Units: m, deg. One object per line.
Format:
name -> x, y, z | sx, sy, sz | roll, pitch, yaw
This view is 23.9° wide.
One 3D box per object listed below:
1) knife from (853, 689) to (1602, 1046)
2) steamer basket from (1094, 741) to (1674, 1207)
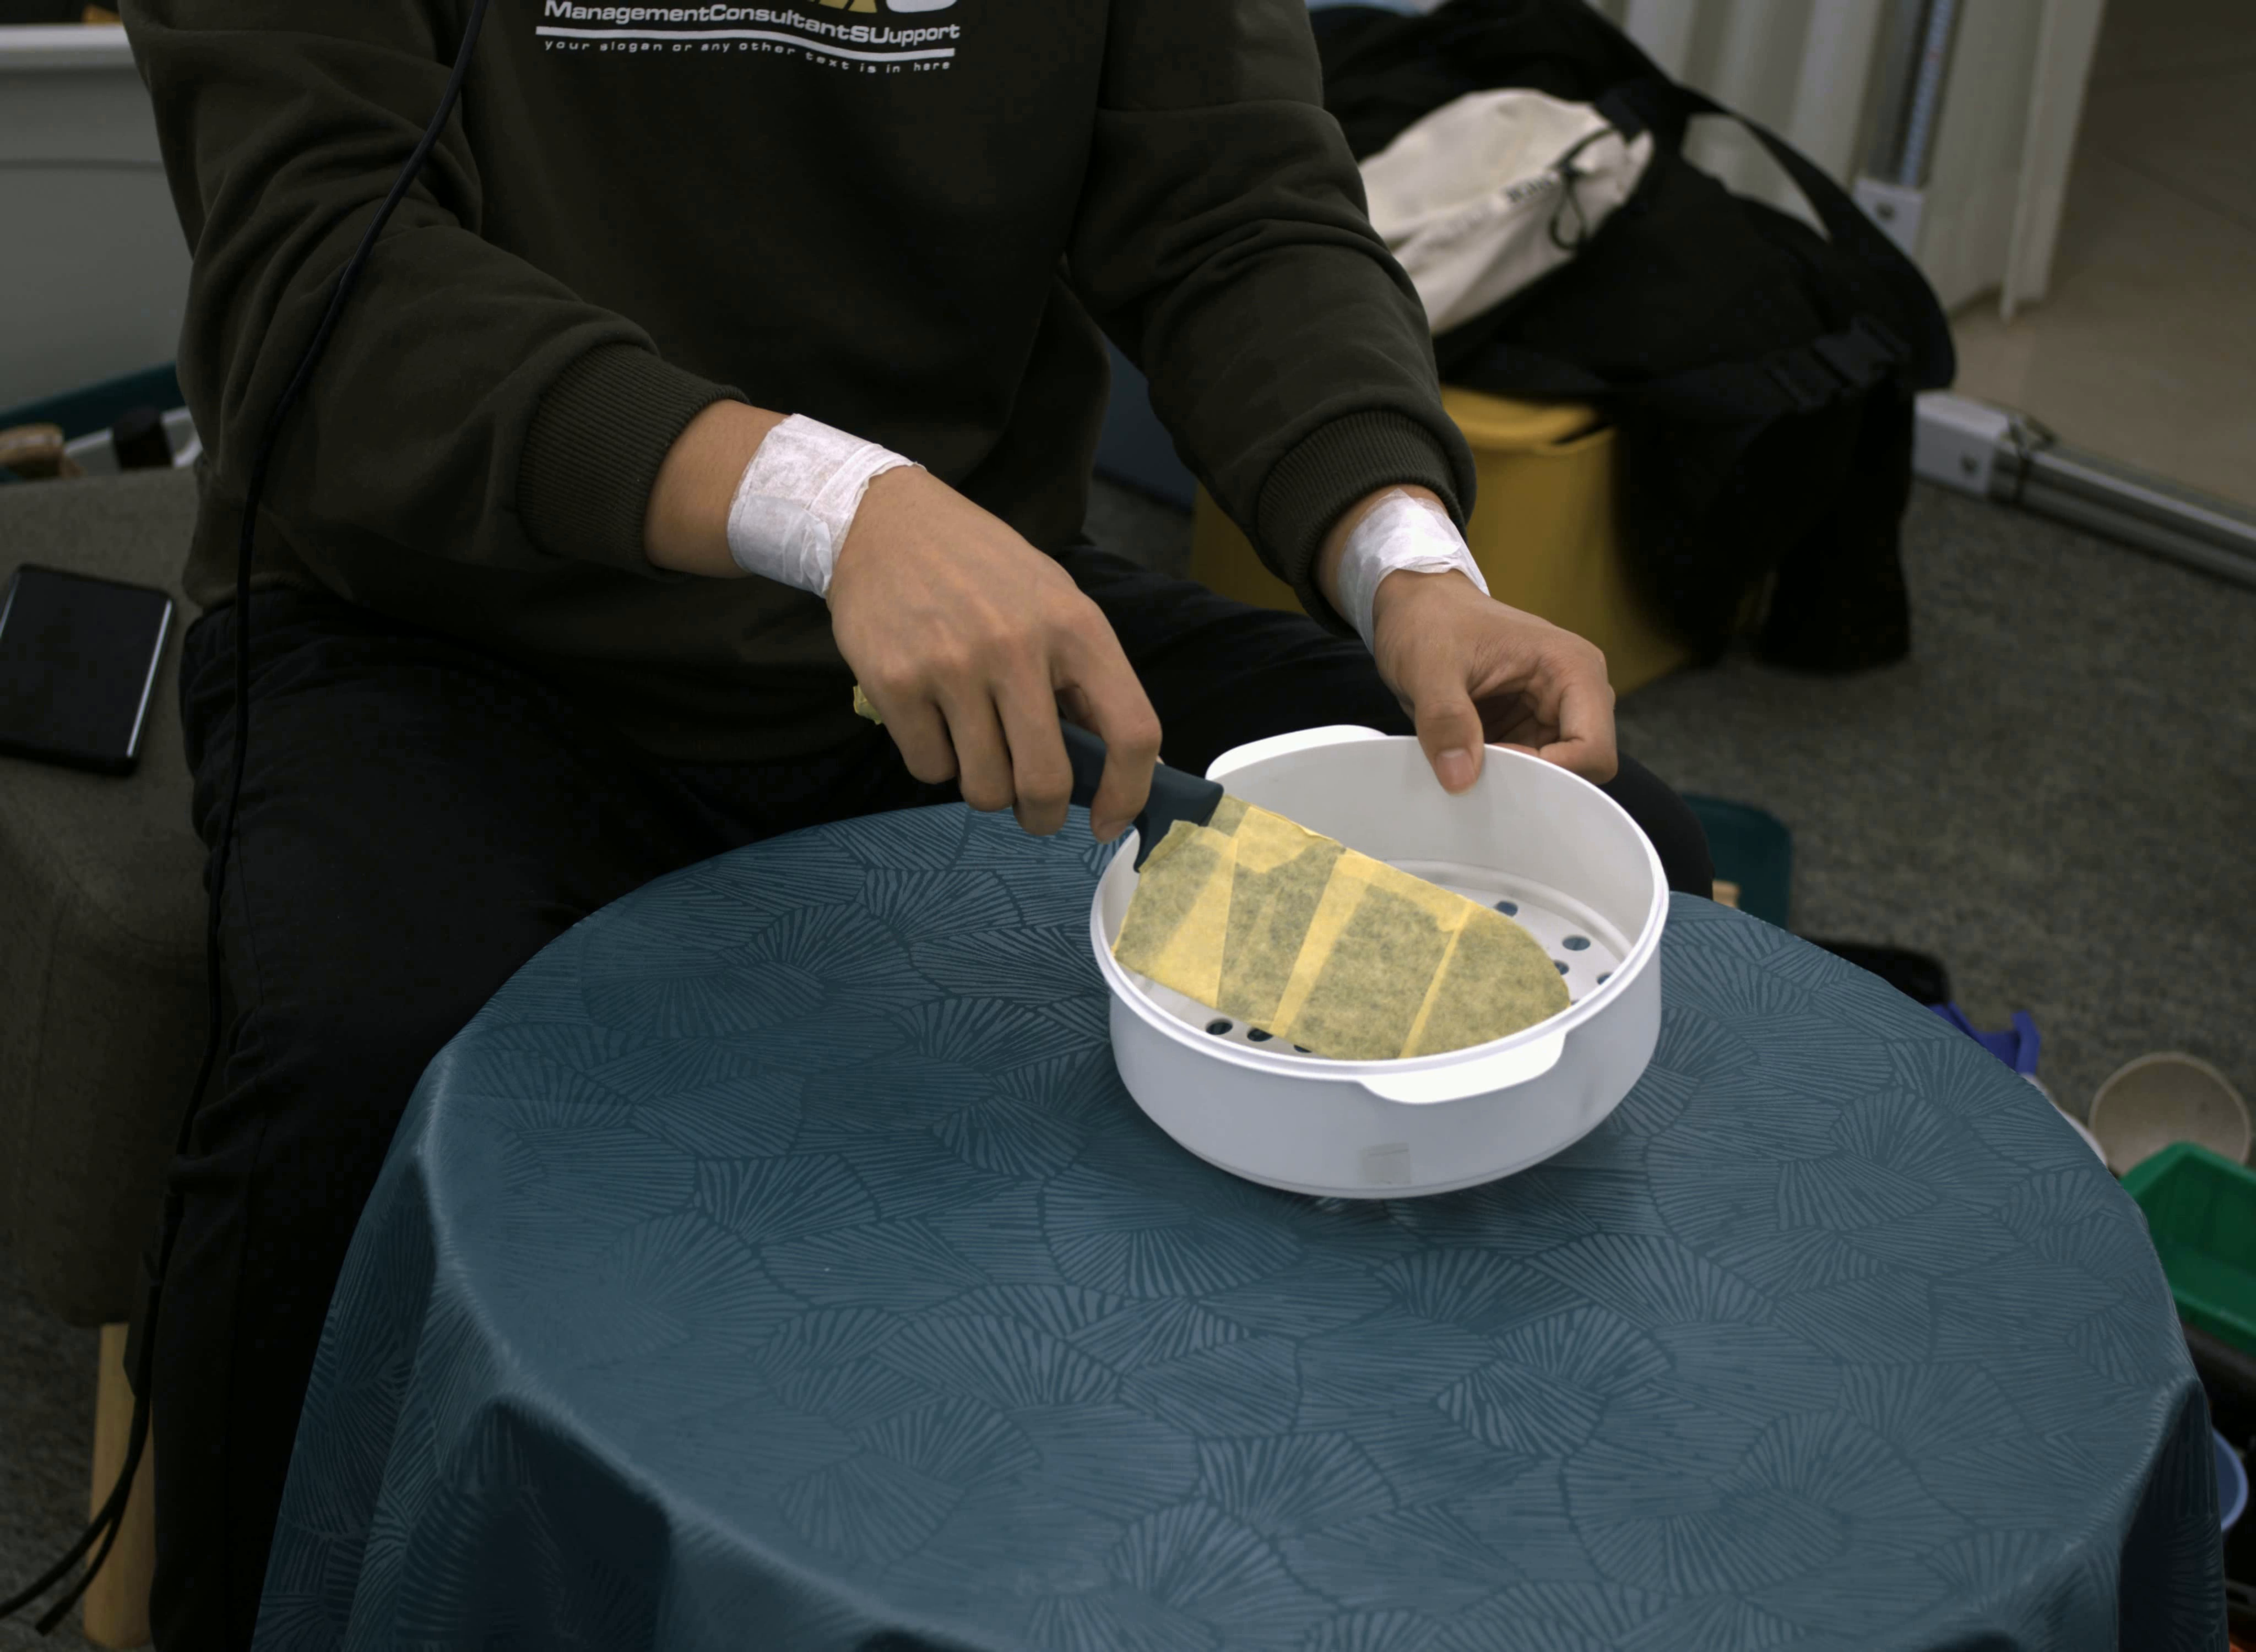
knife -> 0.033, 0.019, 1.846 | 0.289, 0.027, 0.081 | 22, 69, 5
steamer basket -> 0.090, 0.053, 1.858 | 0.201, 0.069, 0.232 | -12, 33, -9
